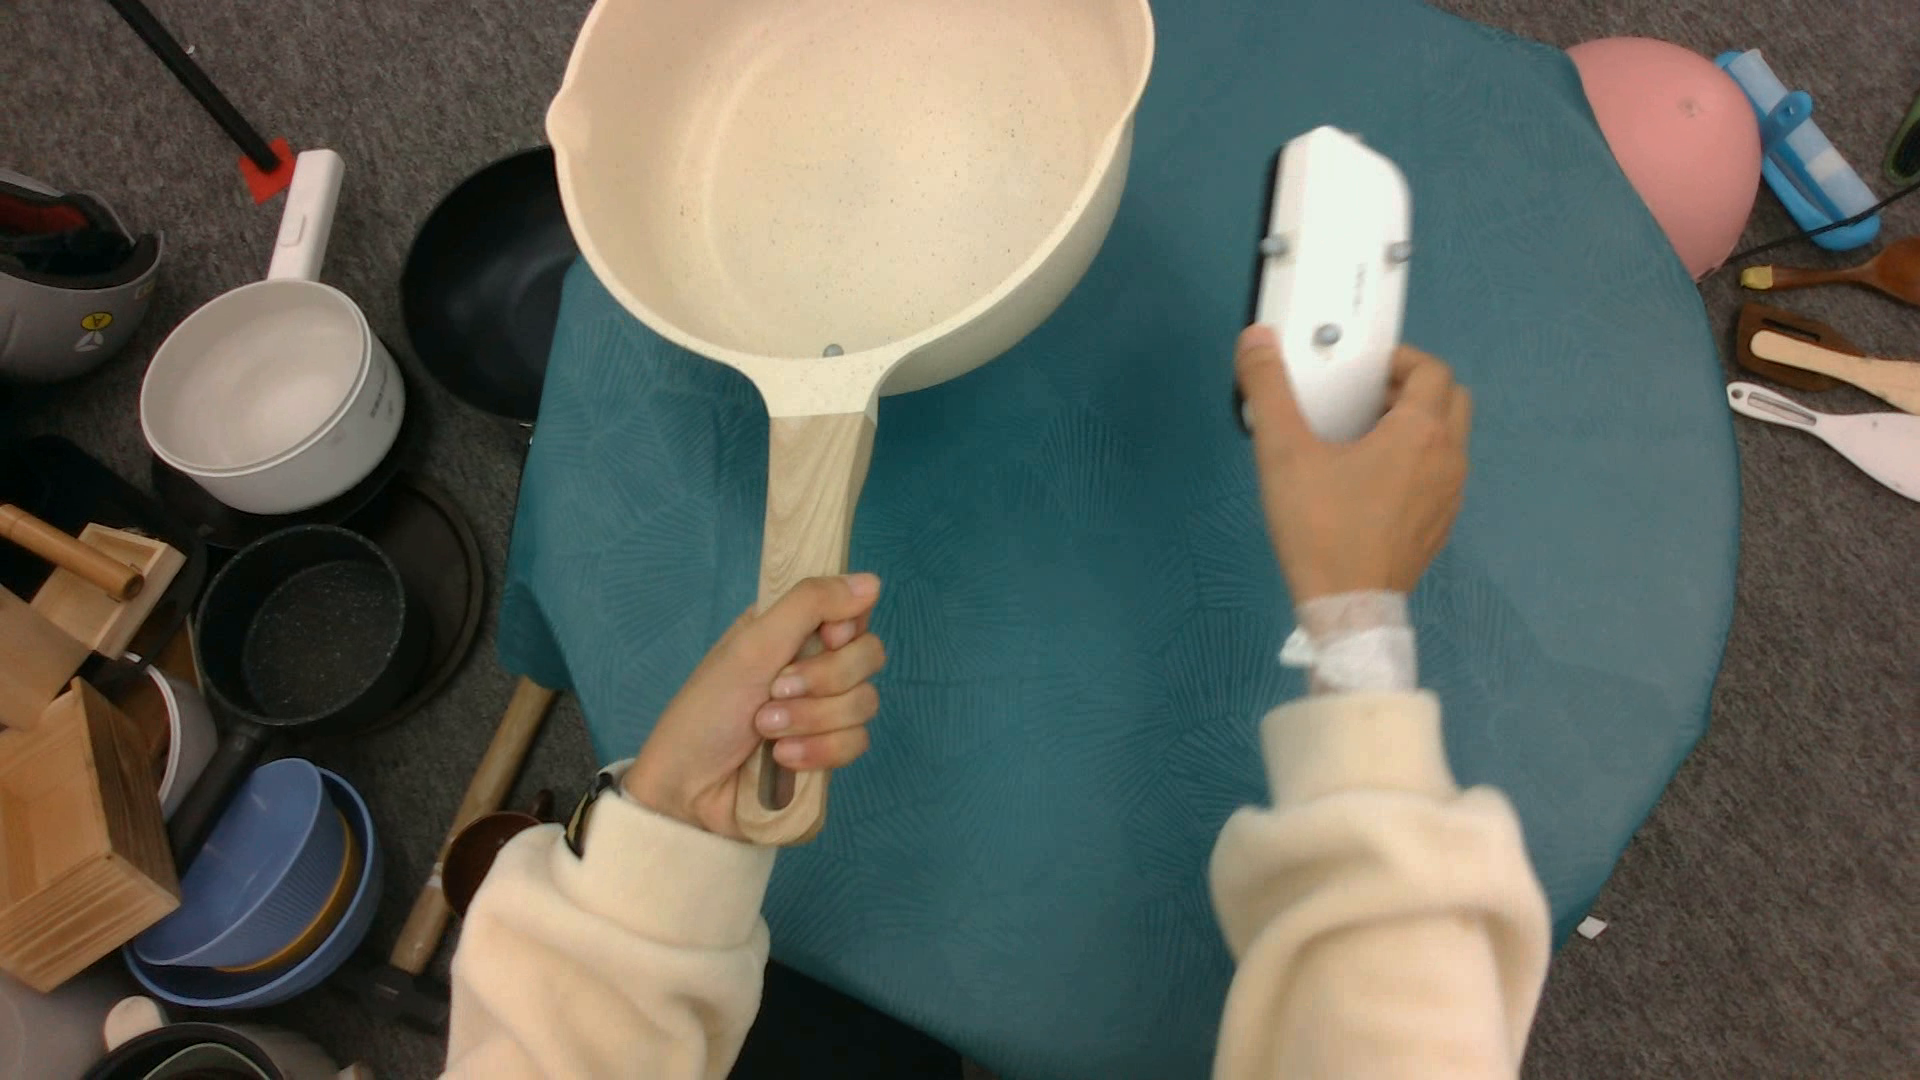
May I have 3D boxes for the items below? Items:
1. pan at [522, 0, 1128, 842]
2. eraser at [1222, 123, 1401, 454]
[{"bbox_3d":[-0.055,-0.095,0.576,0.263,0.102,0.436,-3,75,12],"label":"pan"},{"bbox_3d":[0.145,-0.102,0.565,0.063,0.034,0.131,16,80,-30],"label":"eraser"}]
